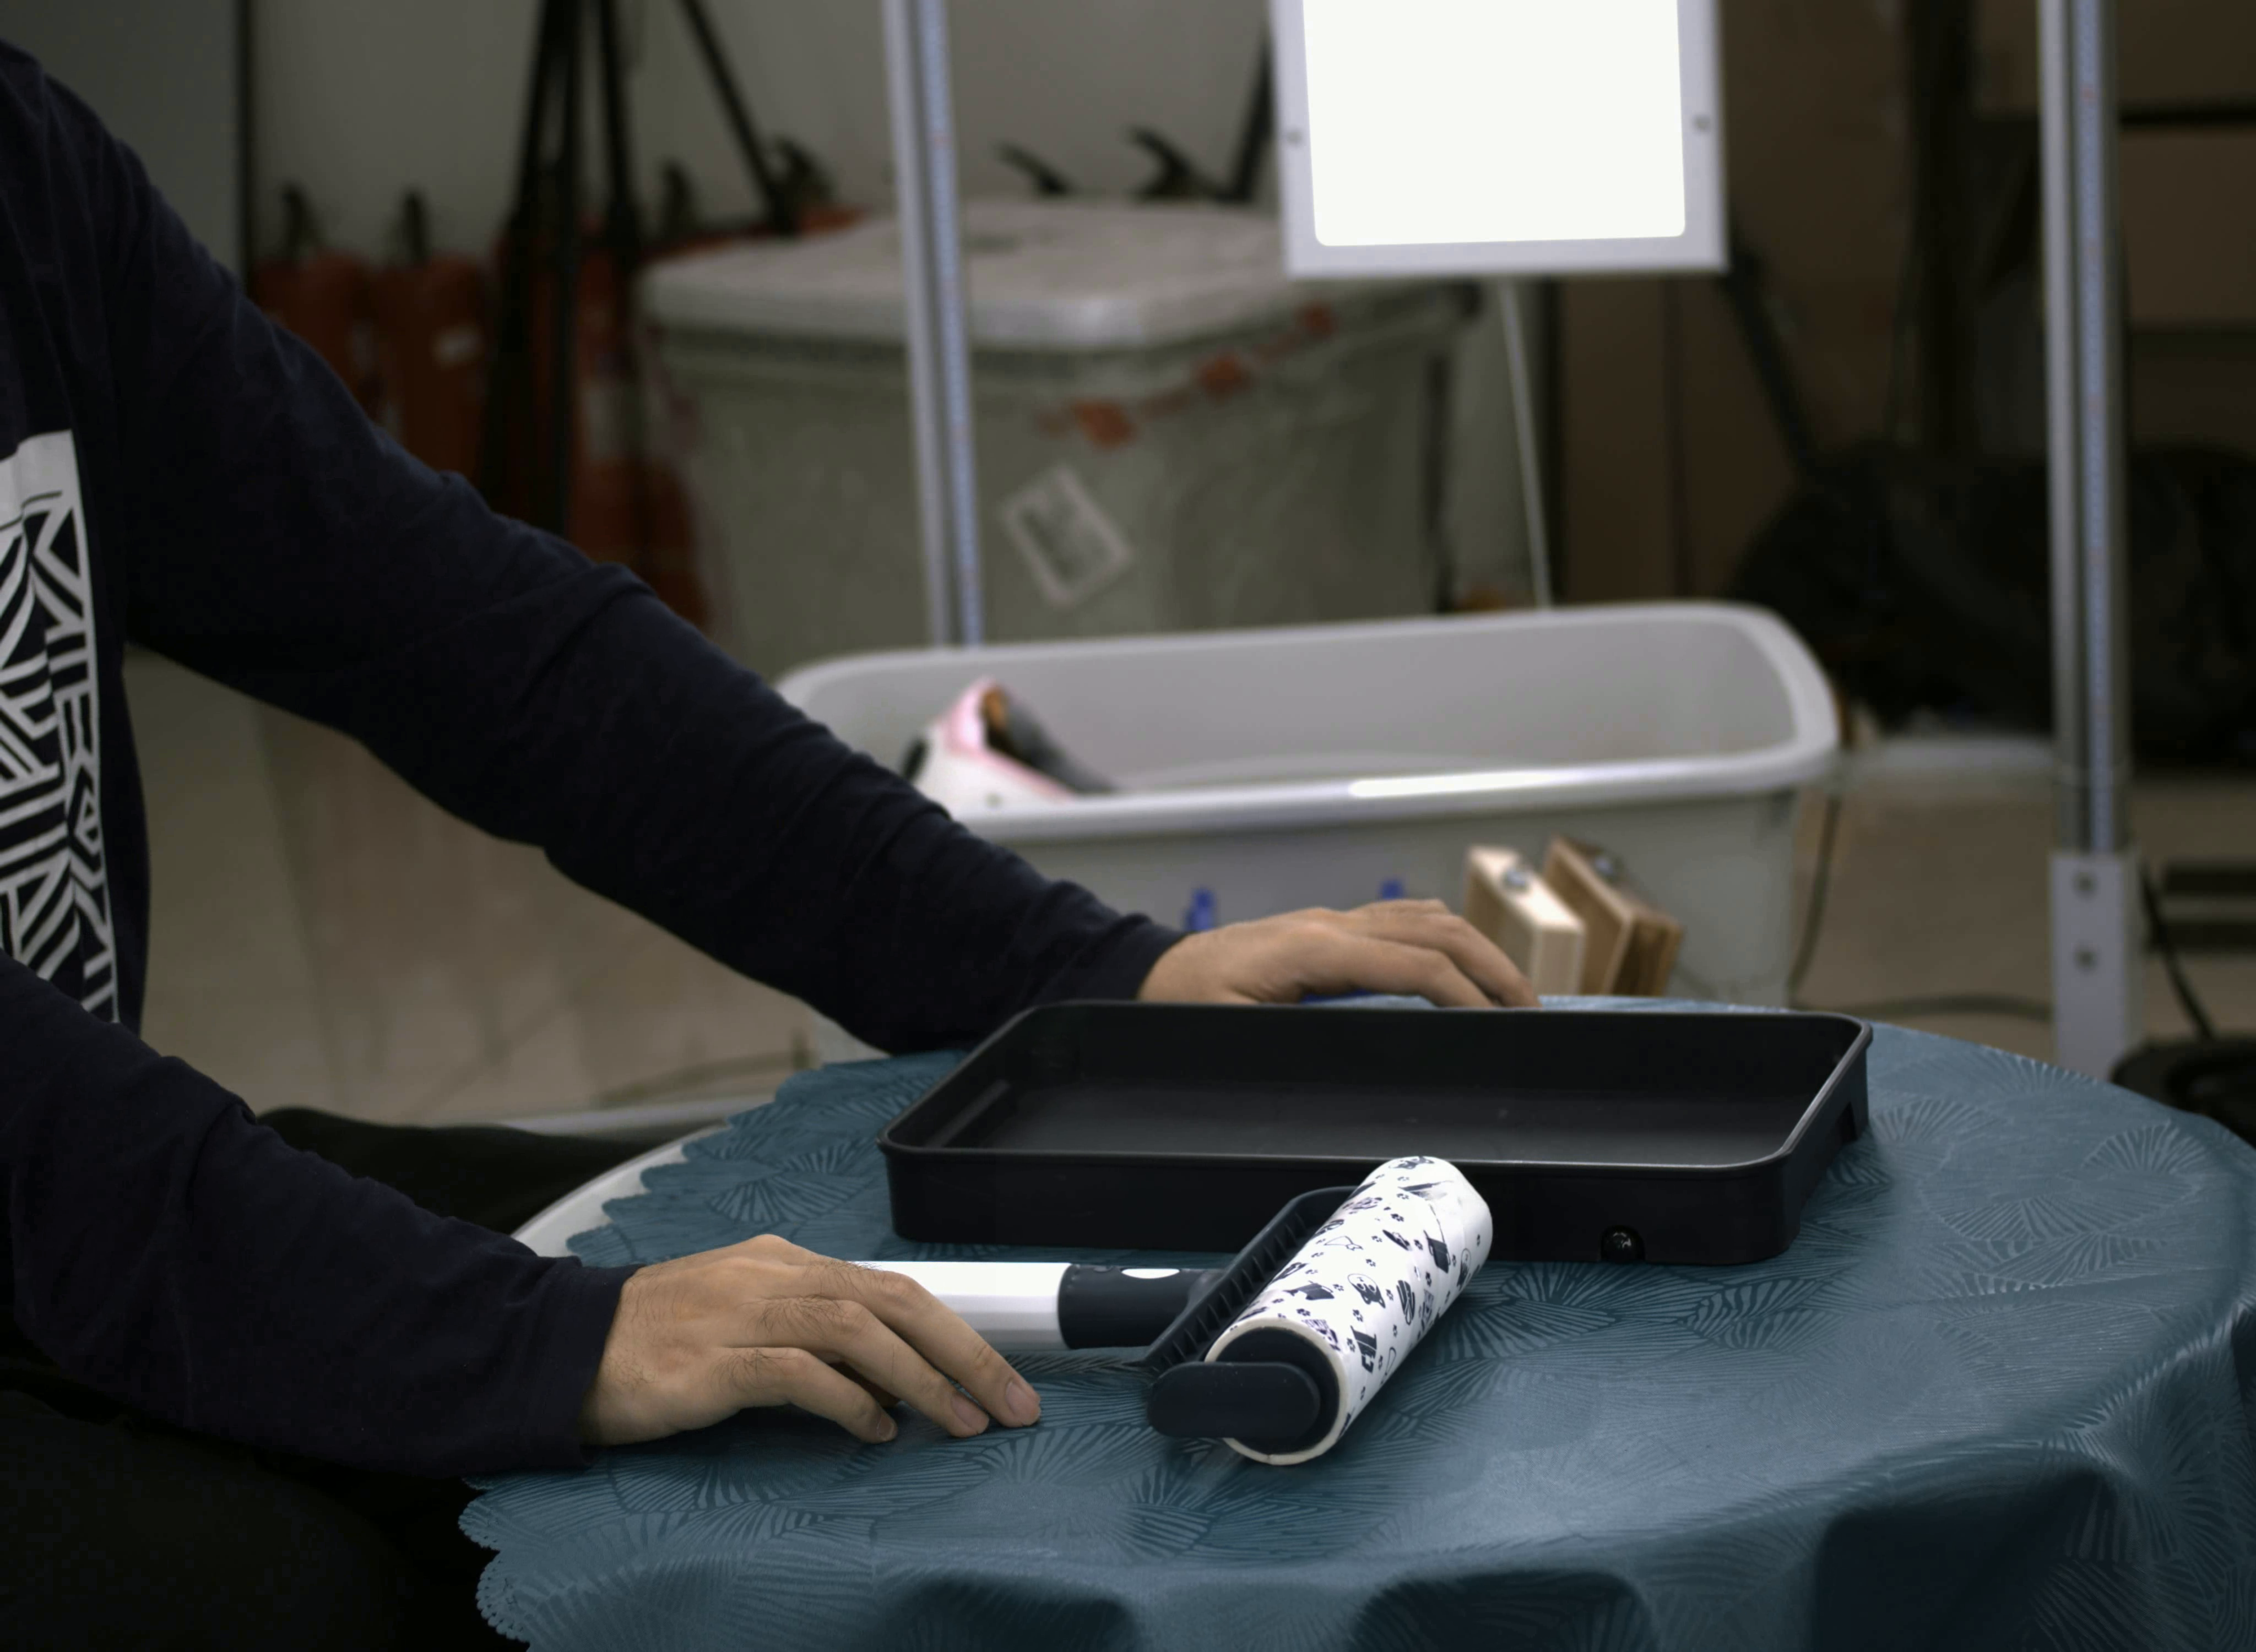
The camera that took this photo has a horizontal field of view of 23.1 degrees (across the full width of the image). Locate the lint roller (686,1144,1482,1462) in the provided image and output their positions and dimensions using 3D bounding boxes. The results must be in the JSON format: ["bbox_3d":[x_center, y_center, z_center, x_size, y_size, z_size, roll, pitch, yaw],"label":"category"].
[{"bbox_3d":[-0.027,0.151,1.730,0.250,0.050,0.173,-3,14,21],"label":"lint roller"}]

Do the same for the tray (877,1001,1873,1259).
[{"bbox_3d":[0.088,0.102,1.894,0.322,0.037,0.181,0,14,21],"label":"tray"}]
